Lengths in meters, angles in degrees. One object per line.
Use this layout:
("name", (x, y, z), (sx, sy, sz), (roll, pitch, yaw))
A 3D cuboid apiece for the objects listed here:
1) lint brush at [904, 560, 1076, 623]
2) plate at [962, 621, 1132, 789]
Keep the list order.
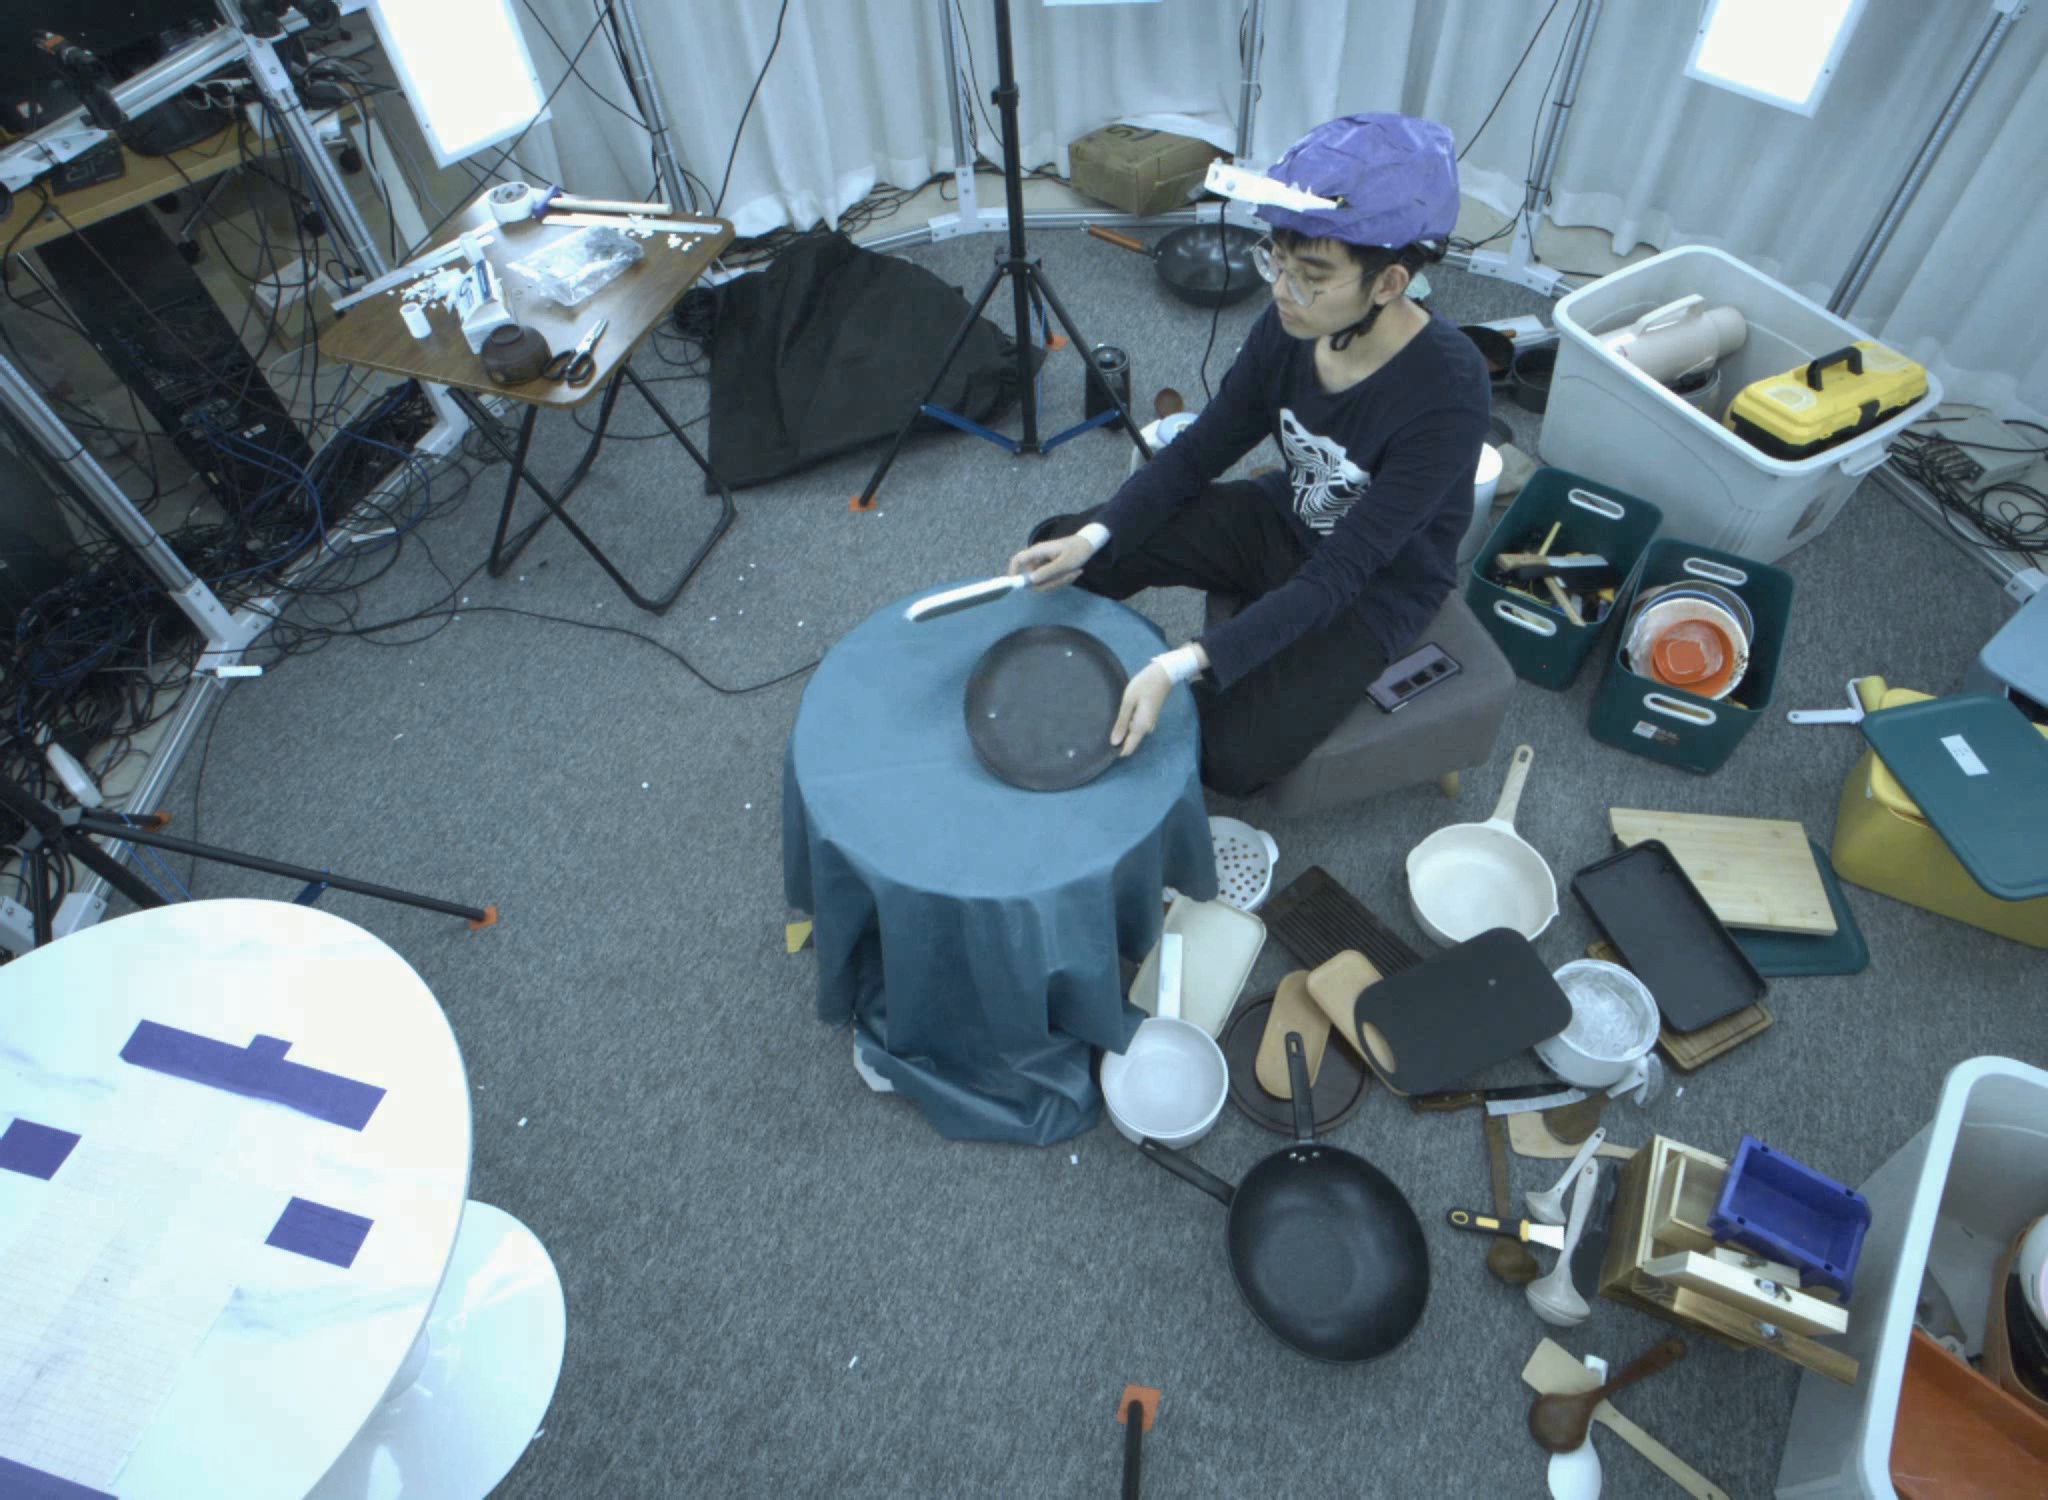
("lint brush", (-0.046, -0.245, 1.857), (0.313, 0.059, 0.021), (-21, 76, -31))
("plate", (0.033, -0.064, 1.770), (0.244, 0.023, 0.244), (0, 85, 1))
